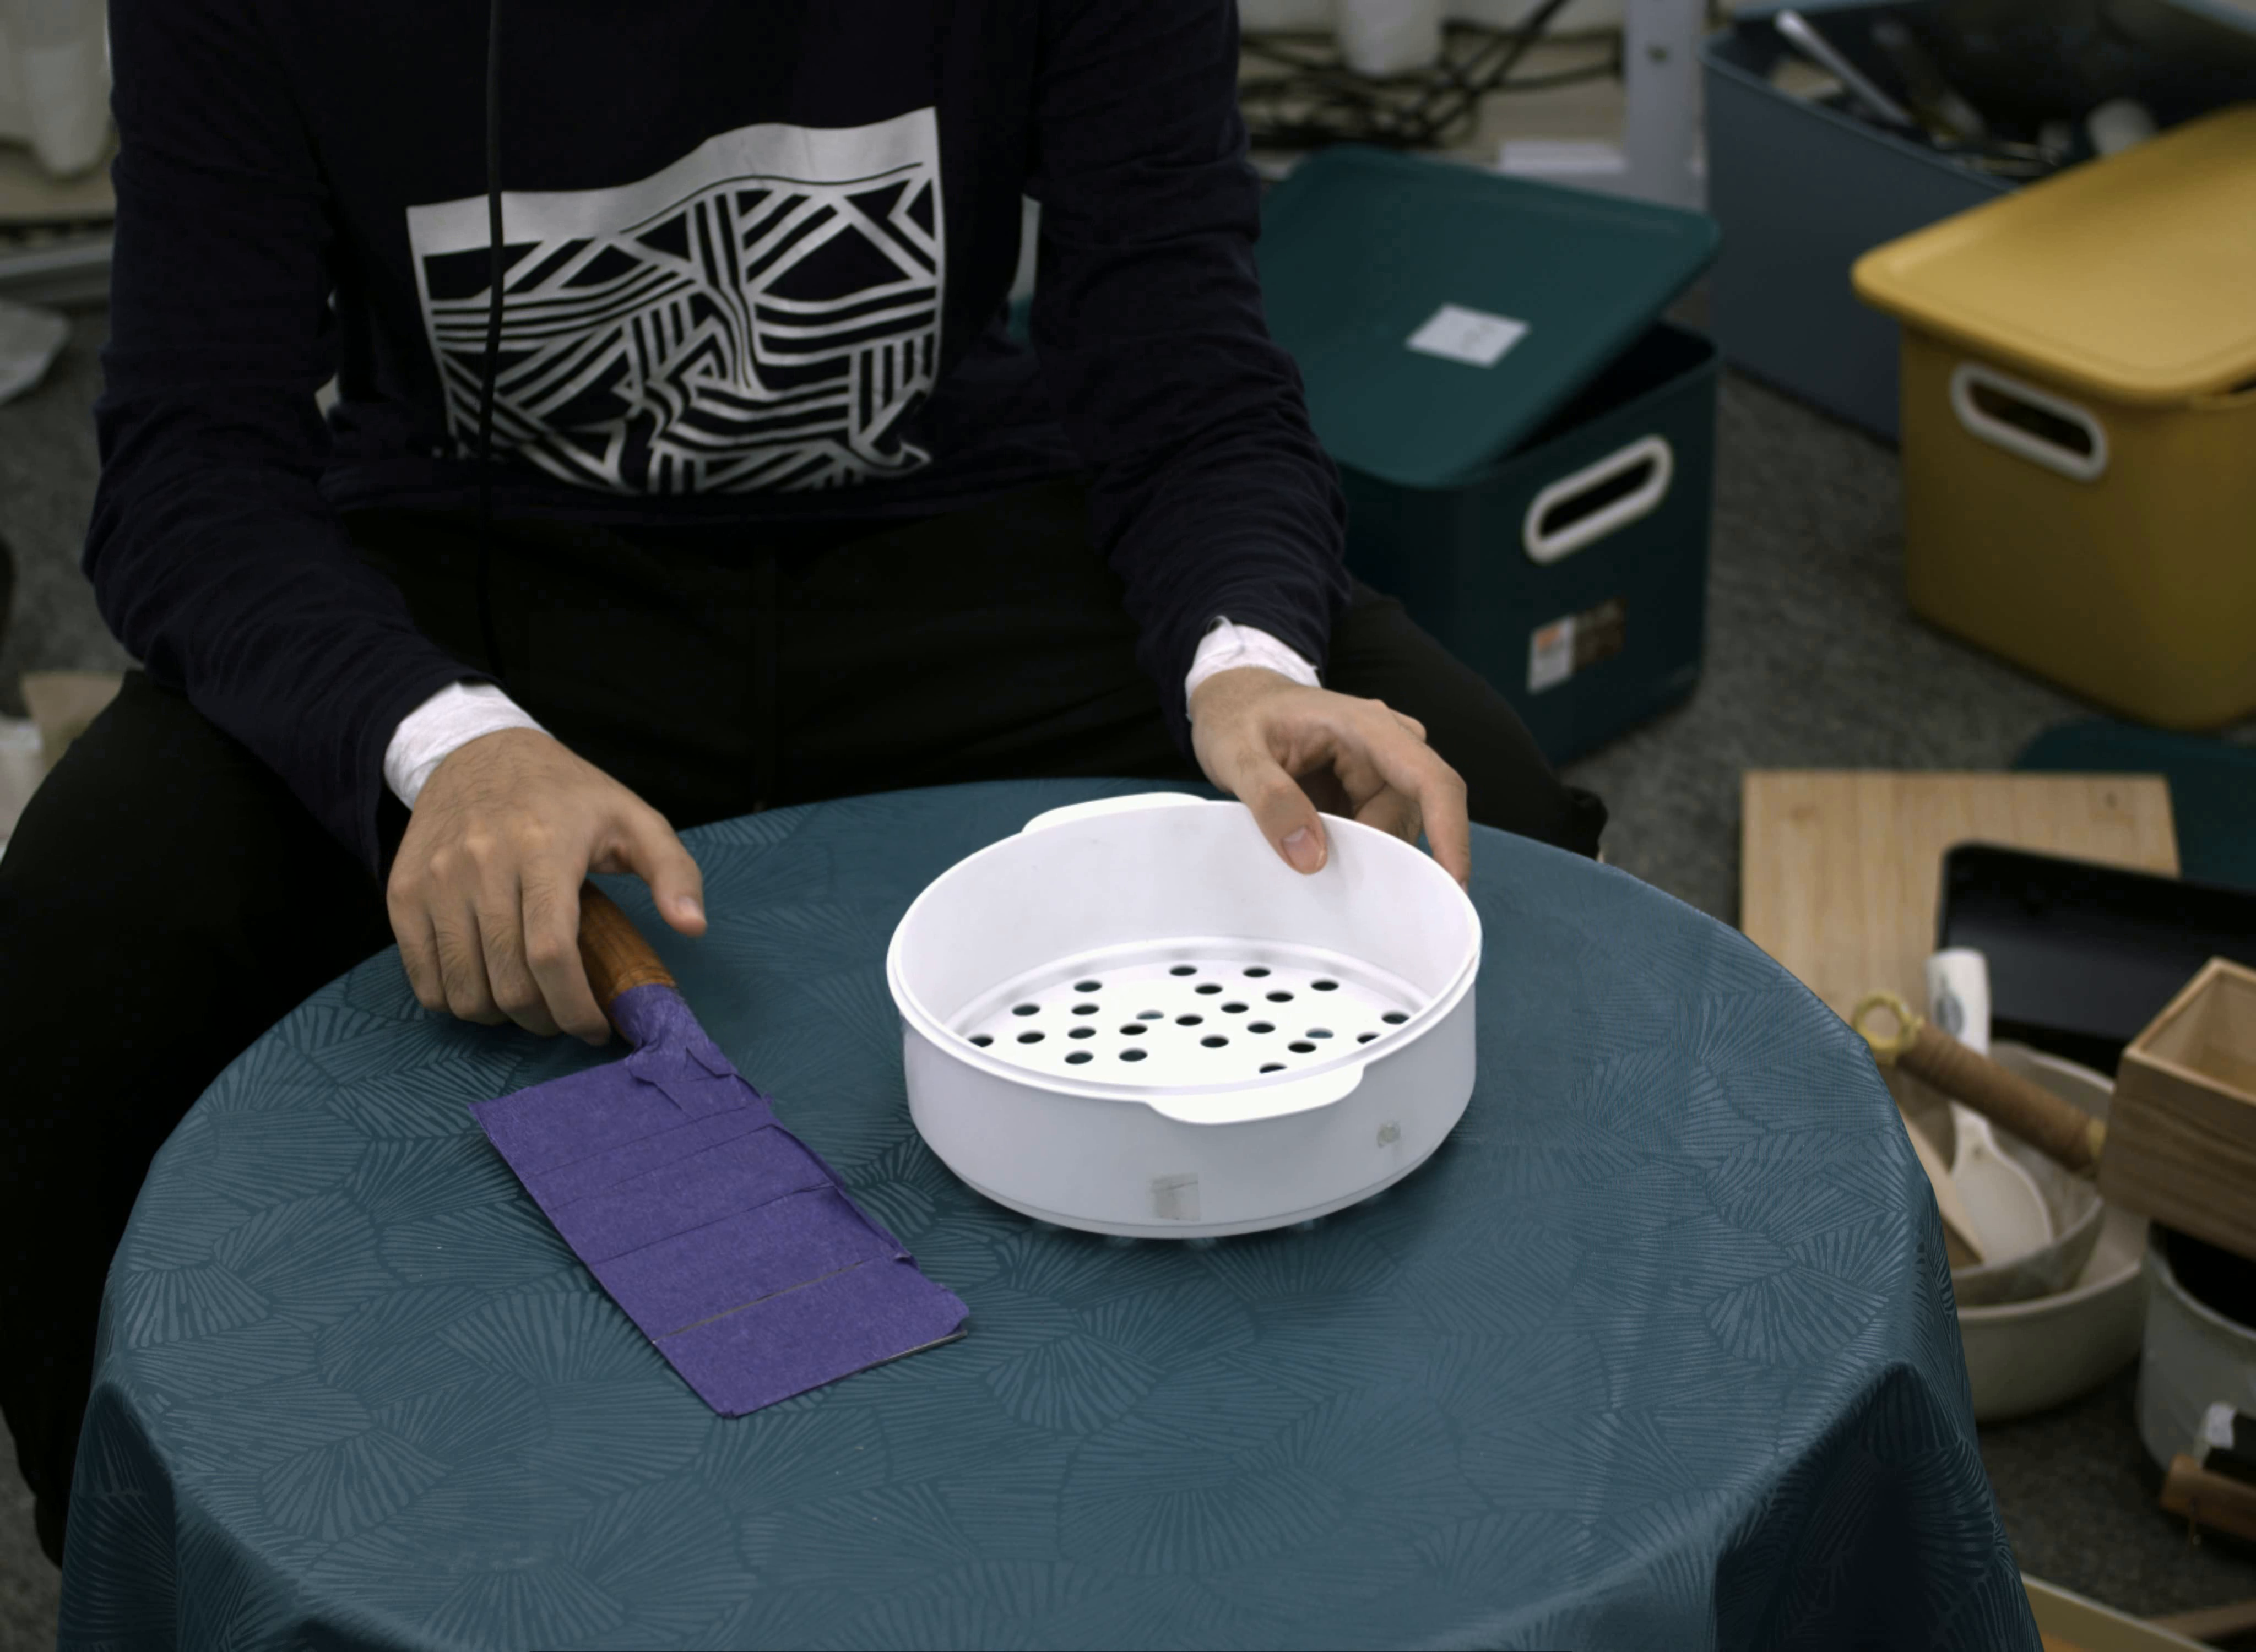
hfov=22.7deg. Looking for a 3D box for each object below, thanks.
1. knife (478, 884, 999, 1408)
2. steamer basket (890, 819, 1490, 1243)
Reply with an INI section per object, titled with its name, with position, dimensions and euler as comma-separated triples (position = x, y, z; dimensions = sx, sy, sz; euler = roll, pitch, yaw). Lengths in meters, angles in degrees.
[knife]
position = -0.160, 0.103, 1.884
dimensions = 0.104, 0.032, 0.317
euler = -16, 31, -25
[steamer basket]
position = 0.022, 0.070, 1.891
dimensions = 0.202, 0.068, 0.233
euler = -8, 25, -11
